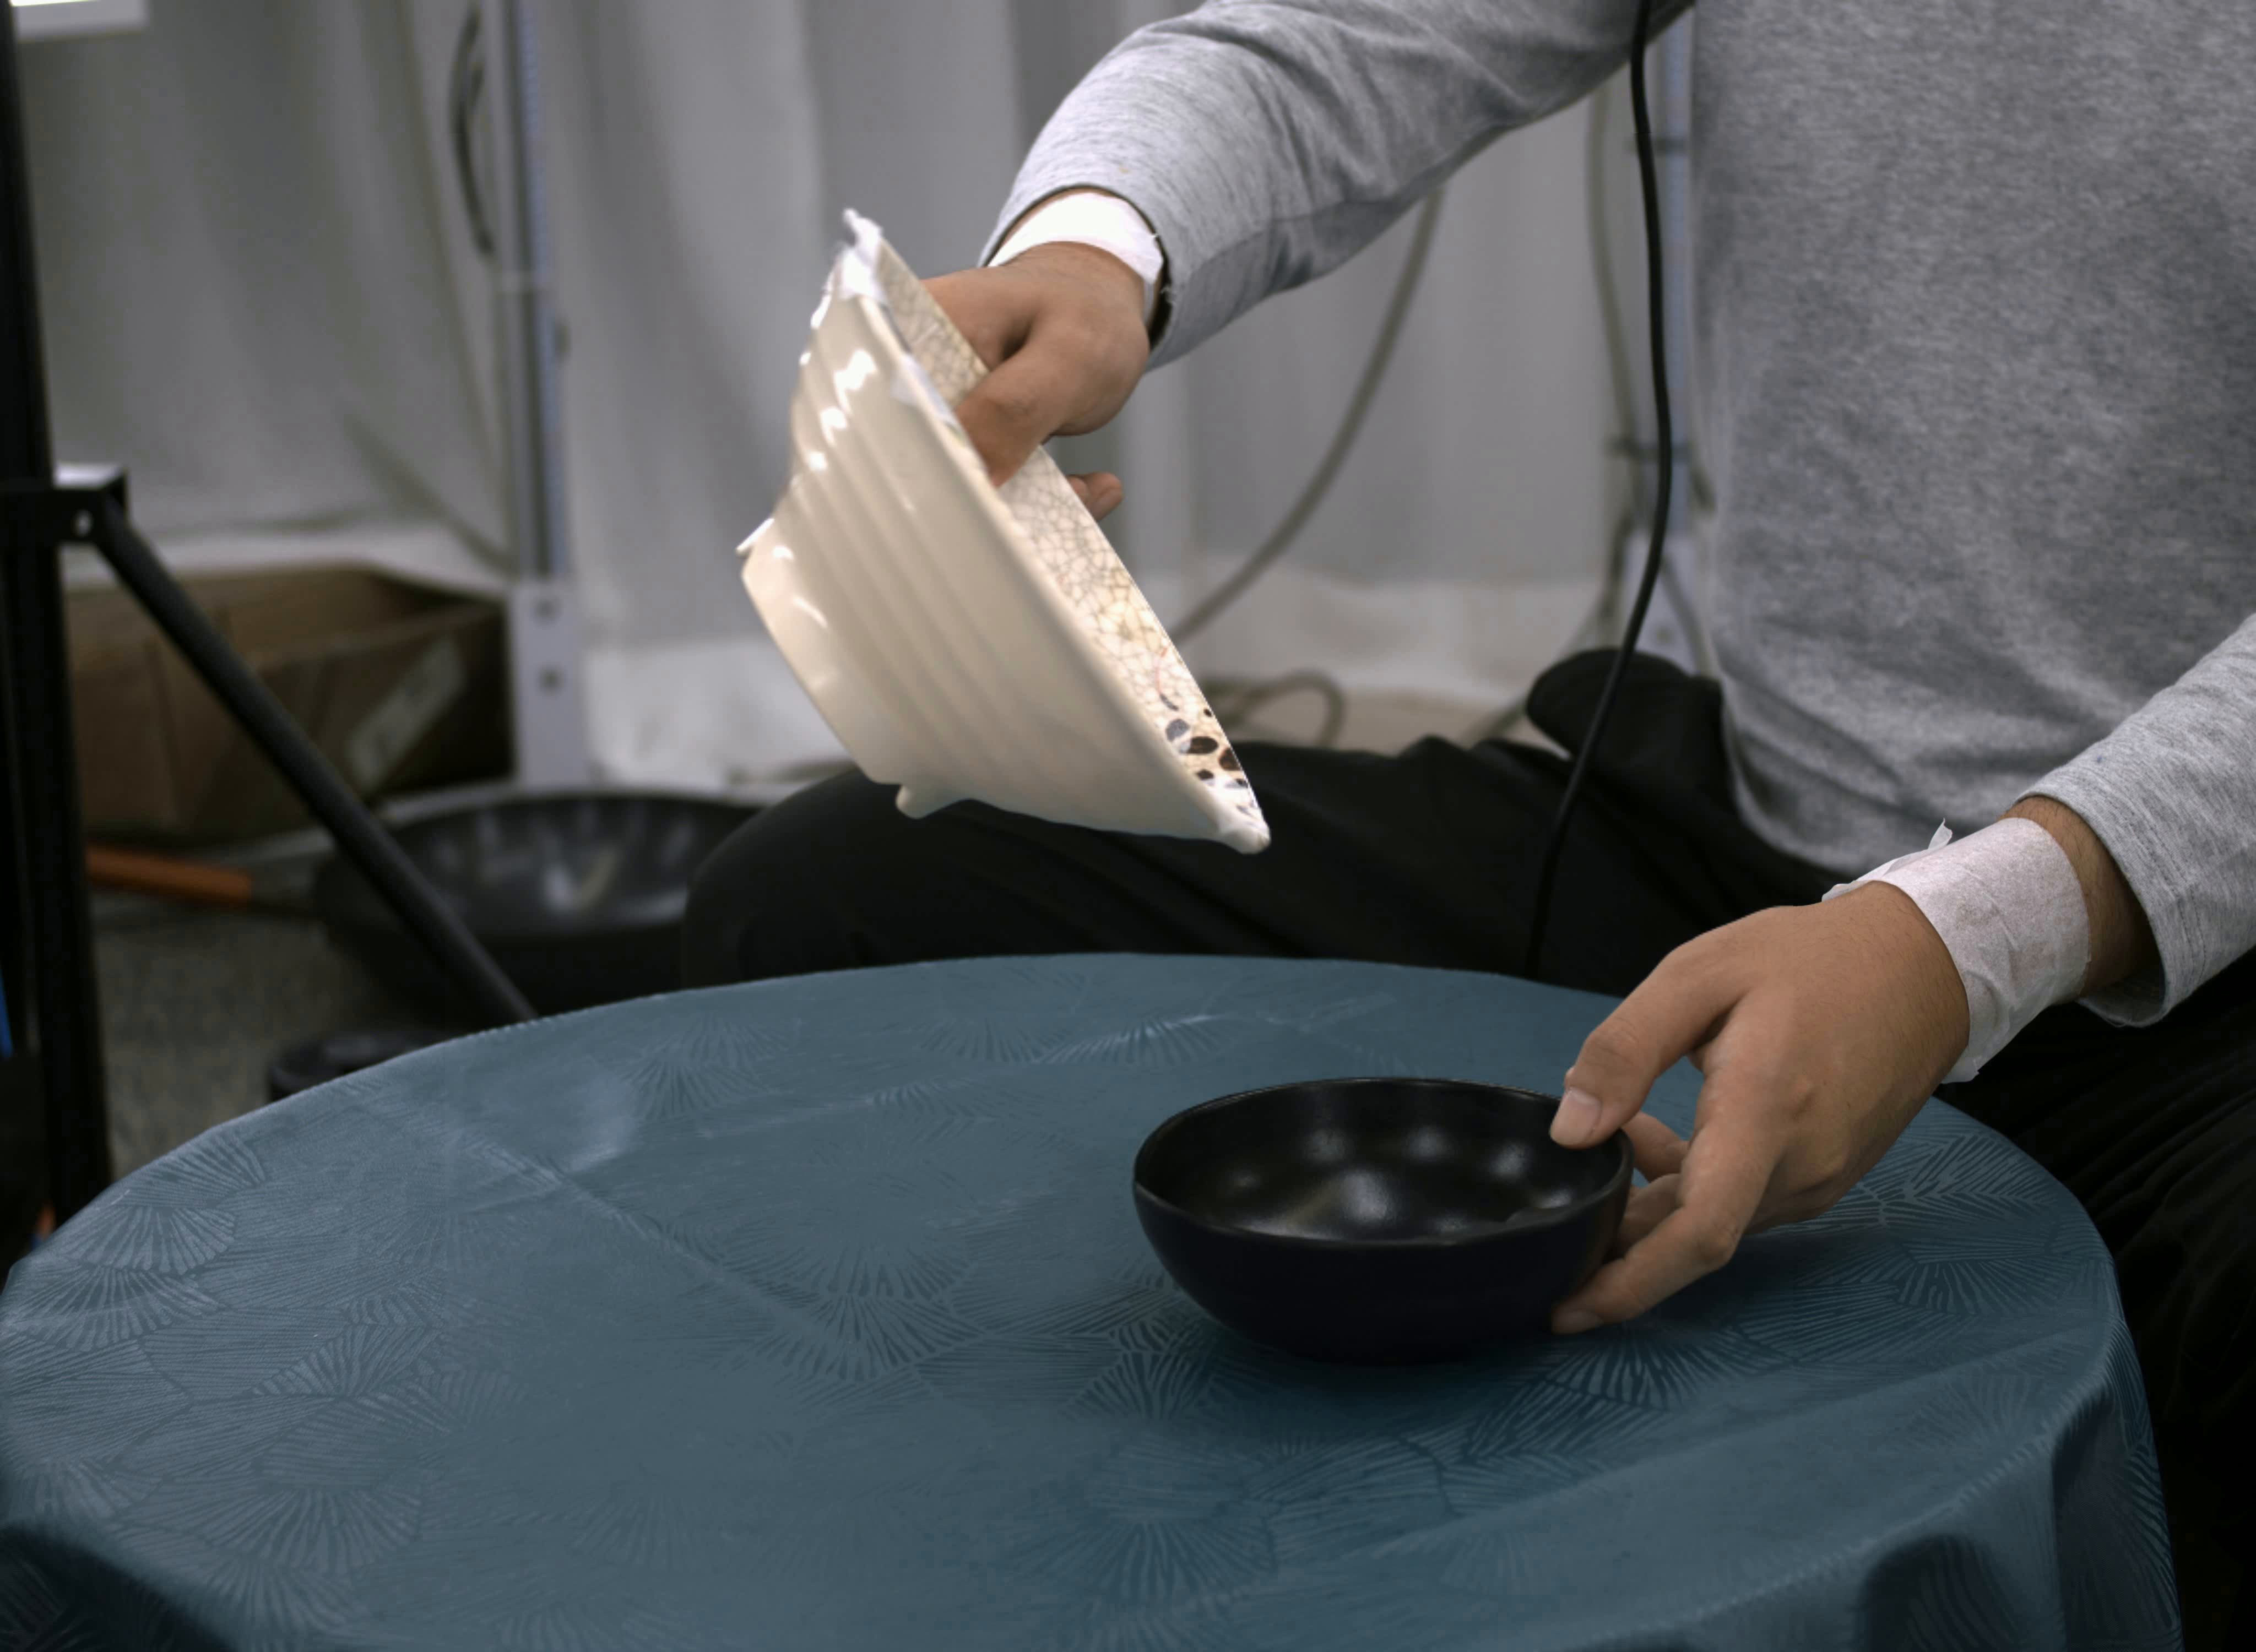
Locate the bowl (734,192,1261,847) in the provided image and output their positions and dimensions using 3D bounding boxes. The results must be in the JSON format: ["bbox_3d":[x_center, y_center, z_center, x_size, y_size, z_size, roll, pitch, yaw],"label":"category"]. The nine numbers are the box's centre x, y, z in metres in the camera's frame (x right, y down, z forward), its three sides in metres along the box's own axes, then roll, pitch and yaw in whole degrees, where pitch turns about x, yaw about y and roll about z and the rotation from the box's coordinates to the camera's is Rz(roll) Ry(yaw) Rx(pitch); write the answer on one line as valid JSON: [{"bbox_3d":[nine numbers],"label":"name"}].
[{"bbox_3d":[-0.050,-0.062,1.421,0.078,0.202,0.205,-33,14,6],"label":"bowl"}]

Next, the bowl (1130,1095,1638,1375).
[{"bbox_3d":[0.069,0.116,1.445,0.139,0.050,0.140,1,13,-2],"label":"bowl"}]
